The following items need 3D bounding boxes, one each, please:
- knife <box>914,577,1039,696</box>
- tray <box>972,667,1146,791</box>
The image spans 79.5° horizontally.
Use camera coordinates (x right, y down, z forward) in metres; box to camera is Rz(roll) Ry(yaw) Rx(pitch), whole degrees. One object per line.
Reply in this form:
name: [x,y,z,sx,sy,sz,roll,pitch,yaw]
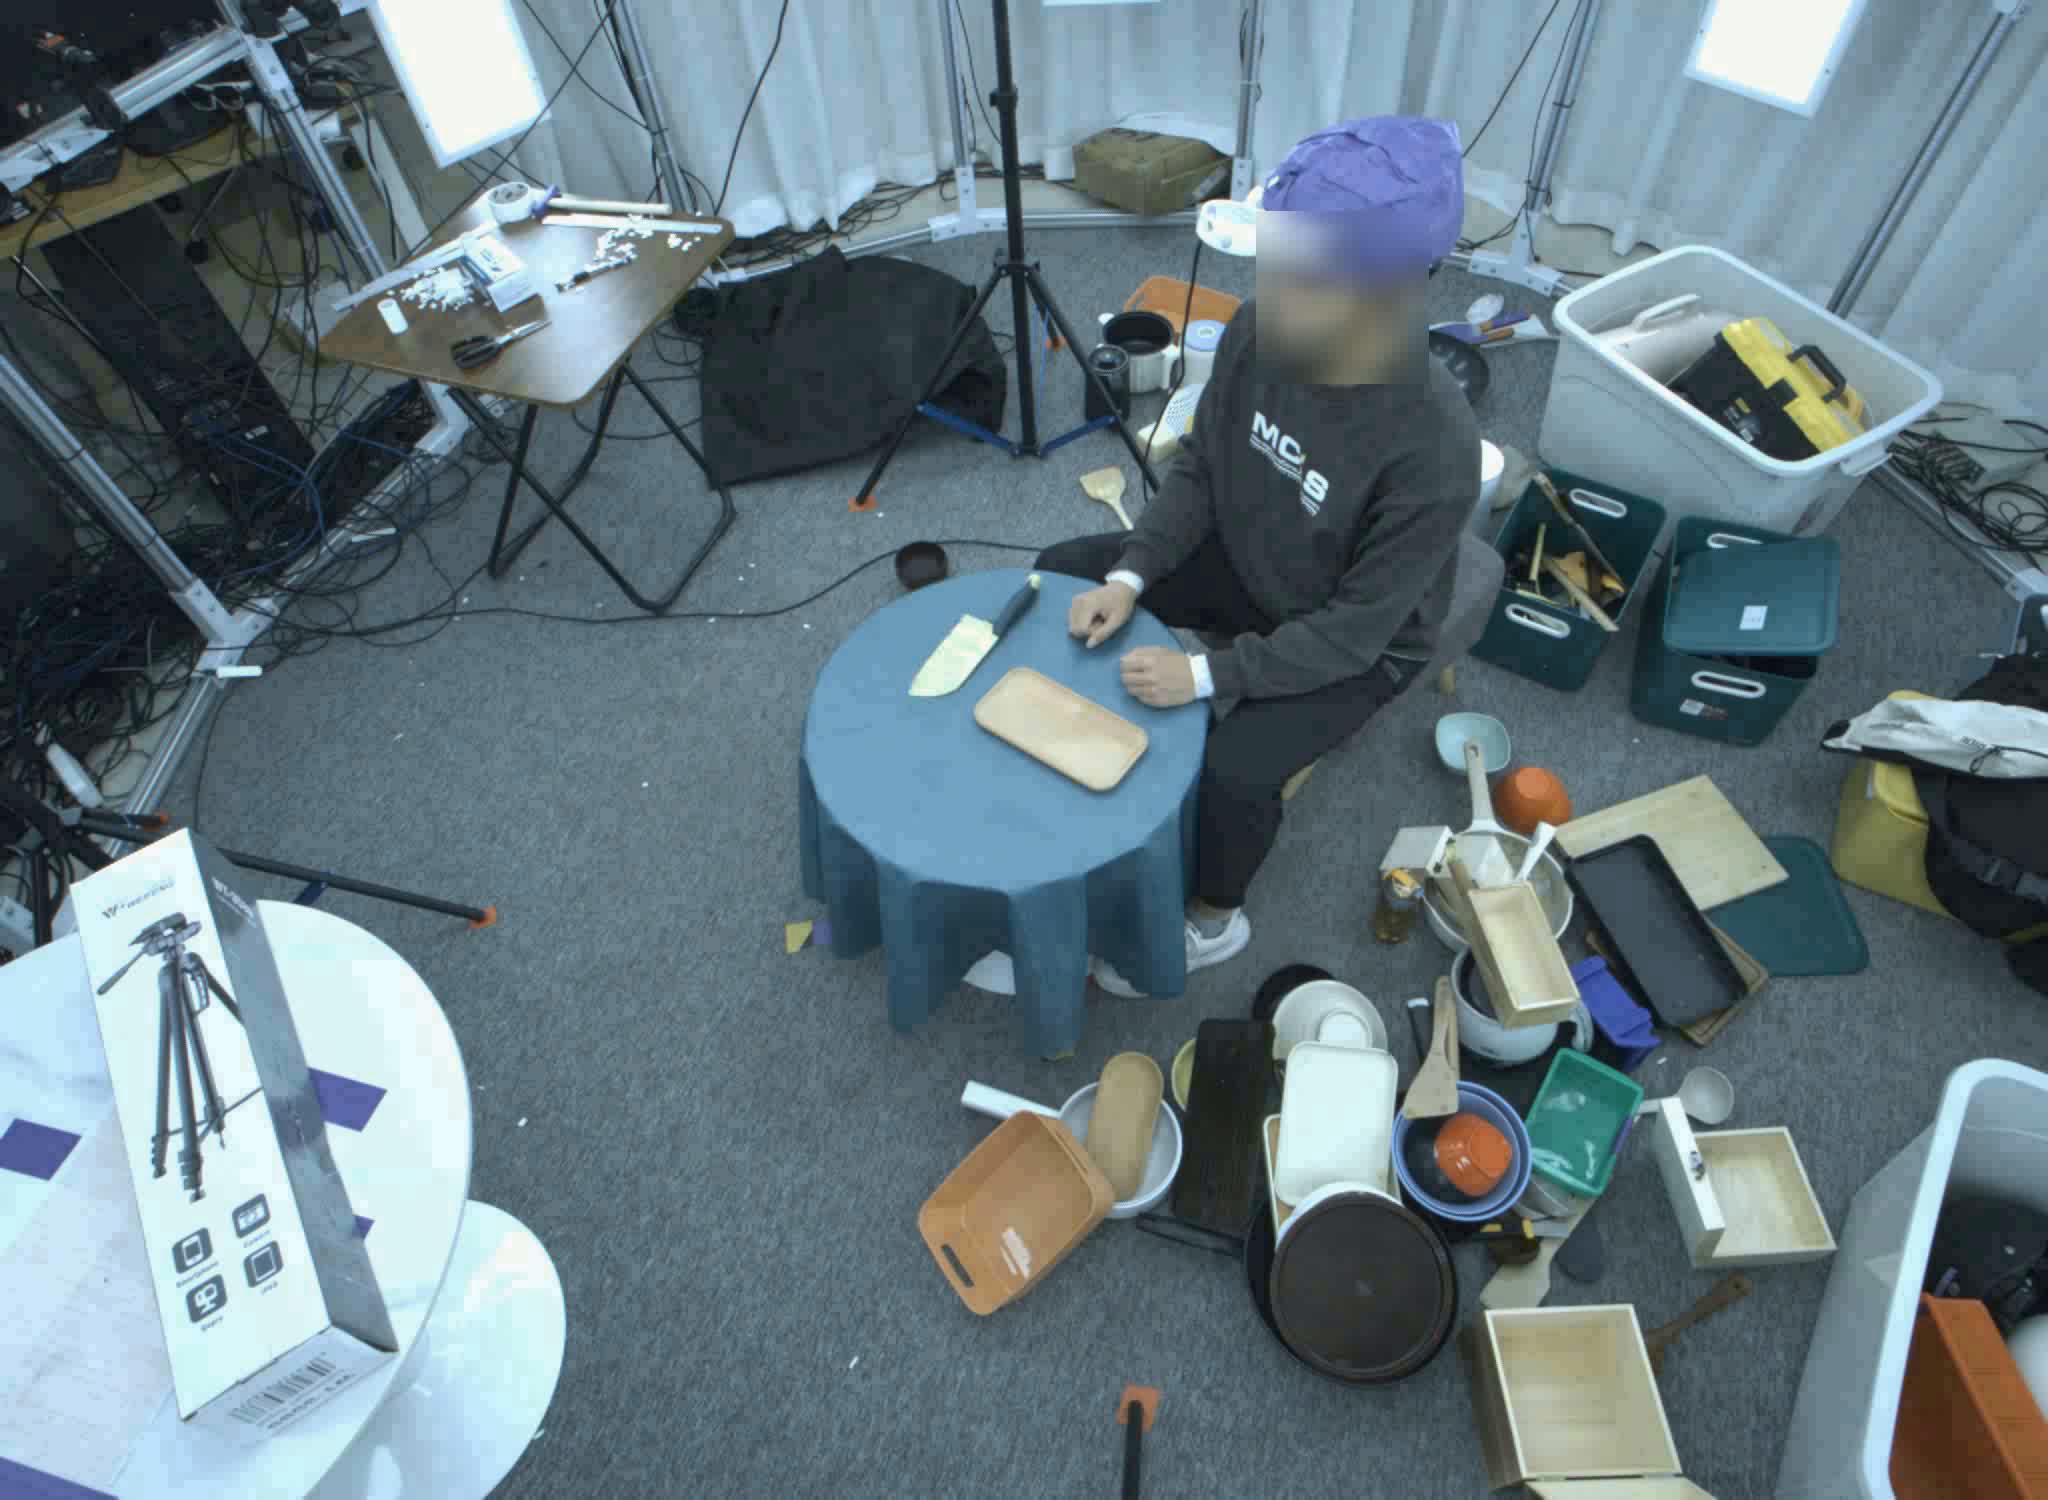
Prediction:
knife: [-0.074,-0.181,1.917,0.080,0.027,0.291,31,61,20]
tray: [0.050,-0.032,1.807,0.247,0.023,0.131,30,58,21]
